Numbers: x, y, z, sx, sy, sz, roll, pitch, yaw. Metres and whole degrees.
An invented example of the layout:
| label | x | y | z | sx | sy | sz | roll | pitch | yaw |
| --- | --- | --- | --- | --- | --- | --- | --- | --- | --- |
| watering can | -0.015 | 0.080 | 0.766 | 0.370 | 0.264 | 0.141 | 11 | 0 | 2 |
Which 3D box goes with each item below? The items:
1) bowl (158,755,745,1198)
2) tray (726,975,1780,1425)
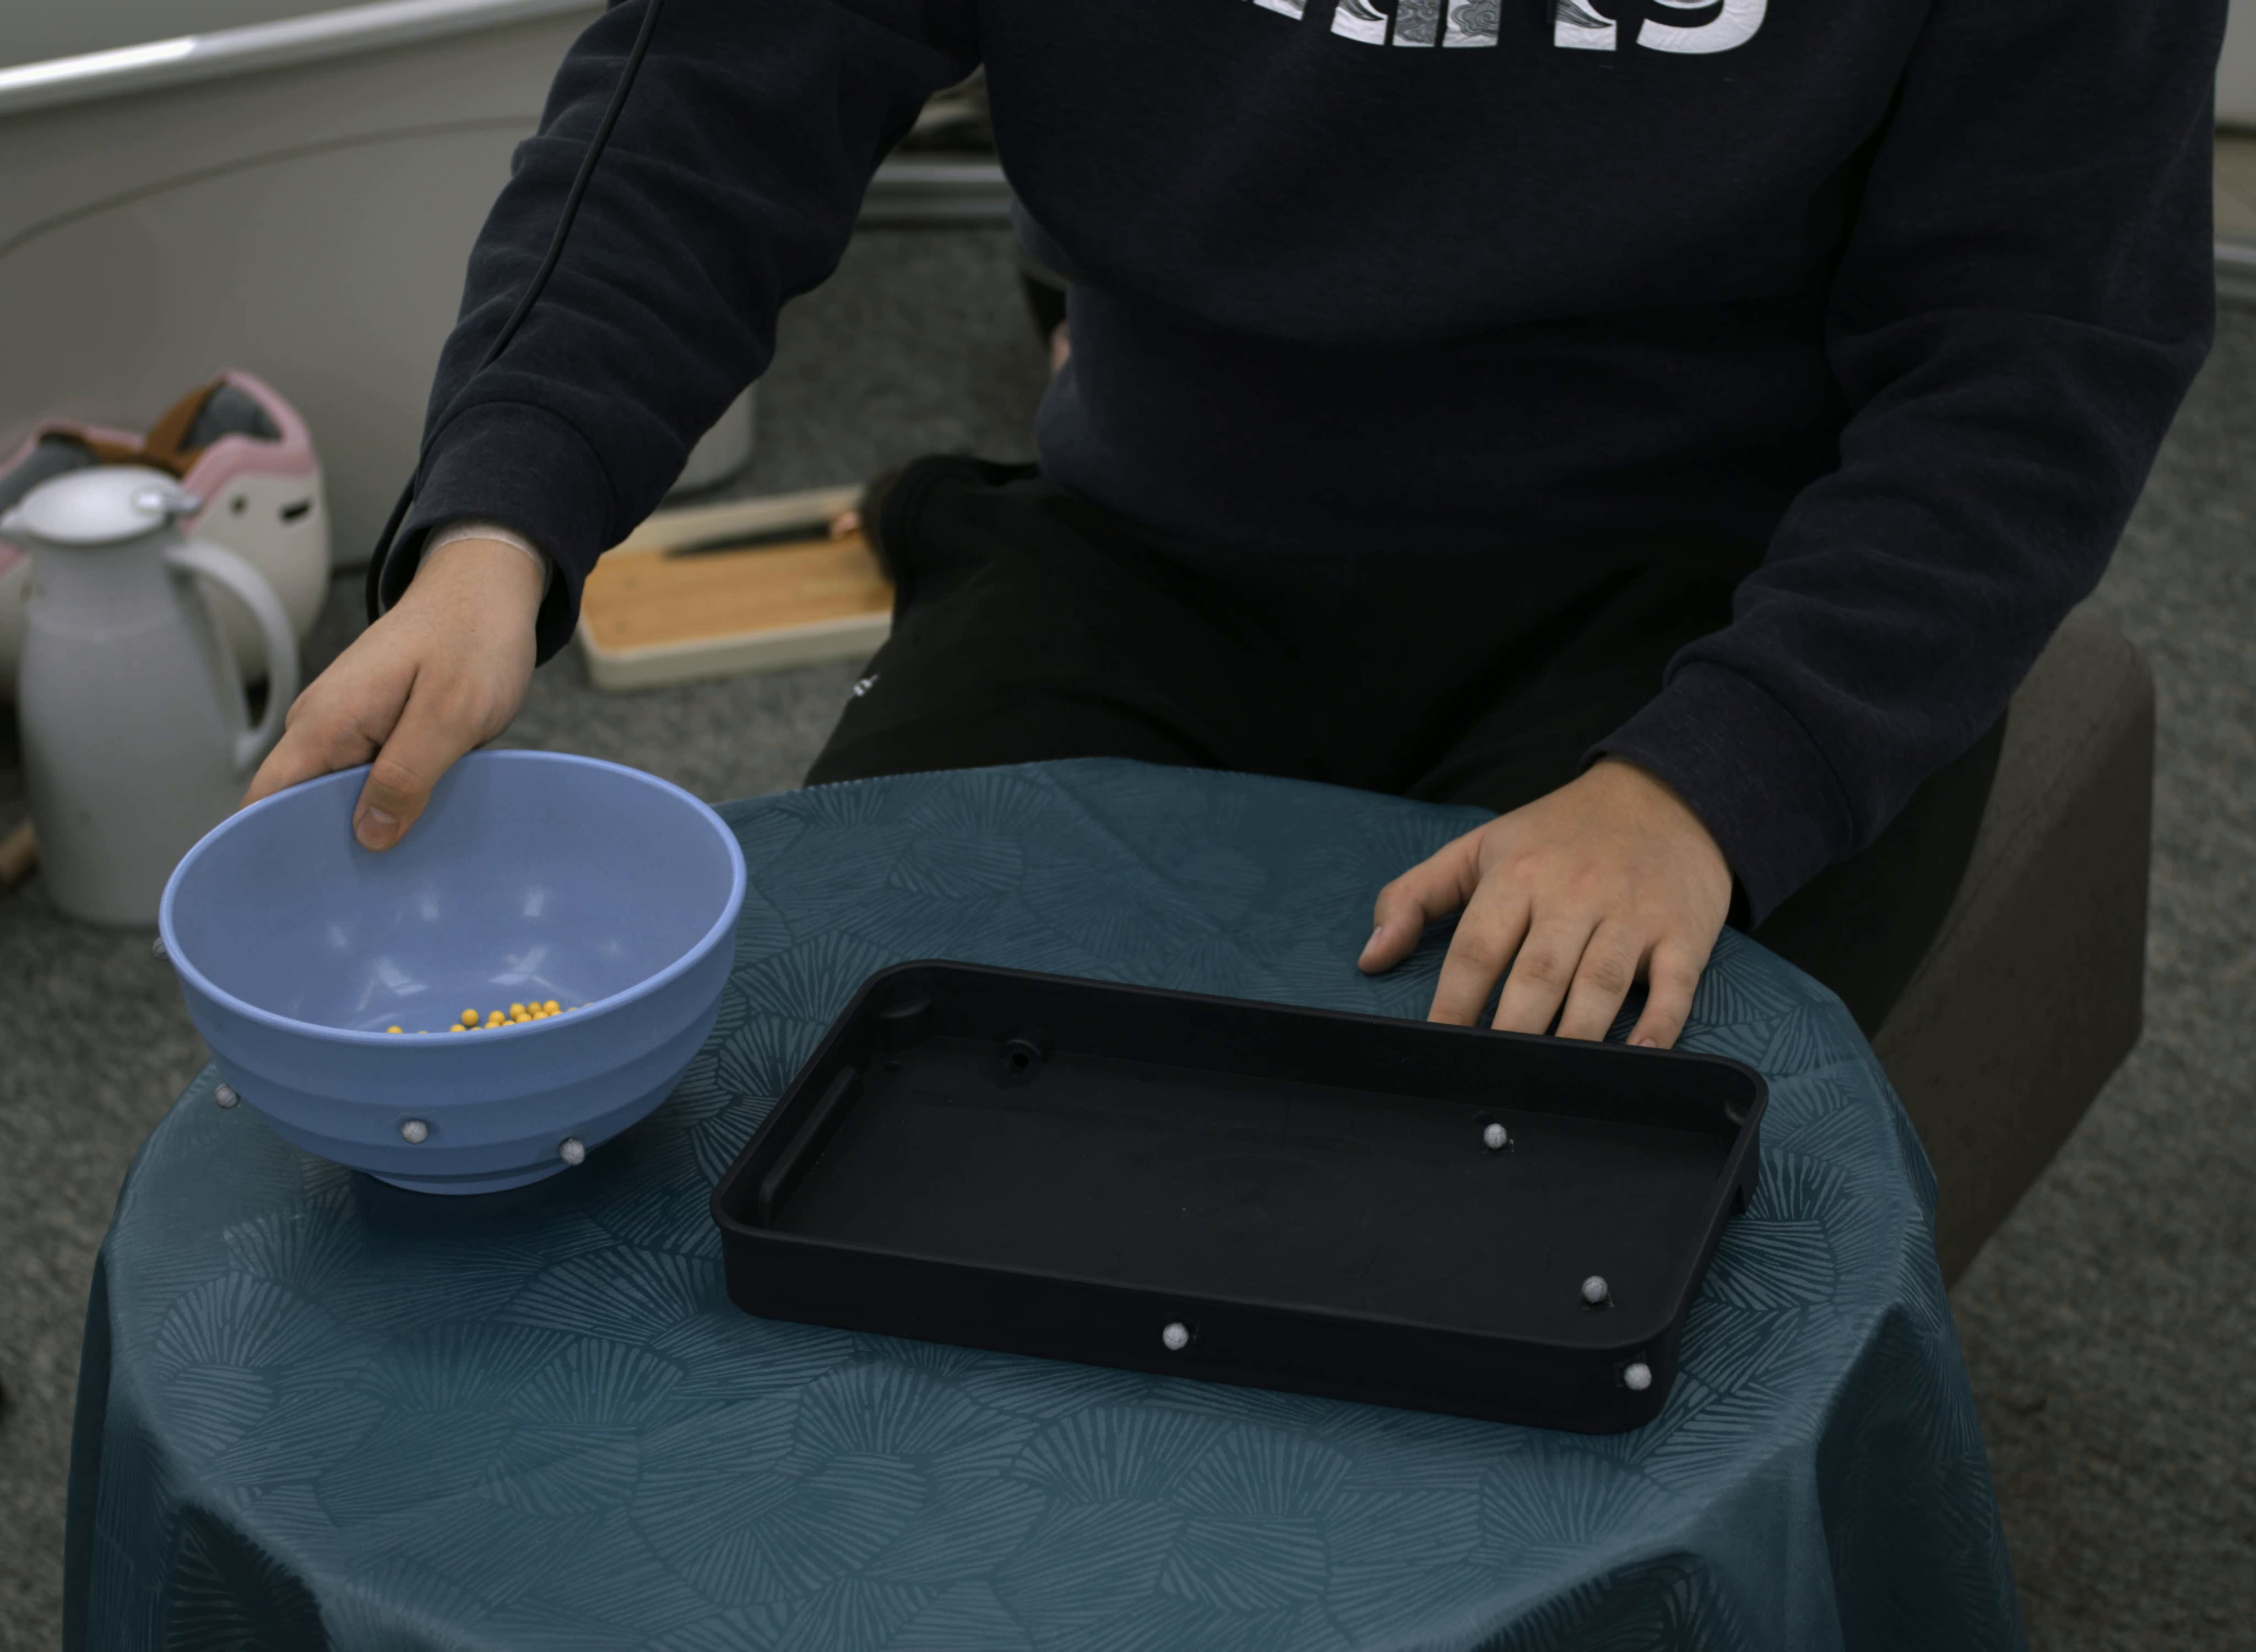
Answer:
| label | x | y | z | sx | sy | sz | roll | pitch | yaw |
| --- | --- | --- | --- | --- | --- | --- | --- | --- | --- |
| bowl | -0.223 | 0.062 | 1.897 | 0.195 | 0.094 | 0.199 | -2 | 28 | 2 |
| tray | 0.043 | 0.119 | 1.831 | 0.316 | 0.036 | 0.187 | 5 | 28 | 16 |
